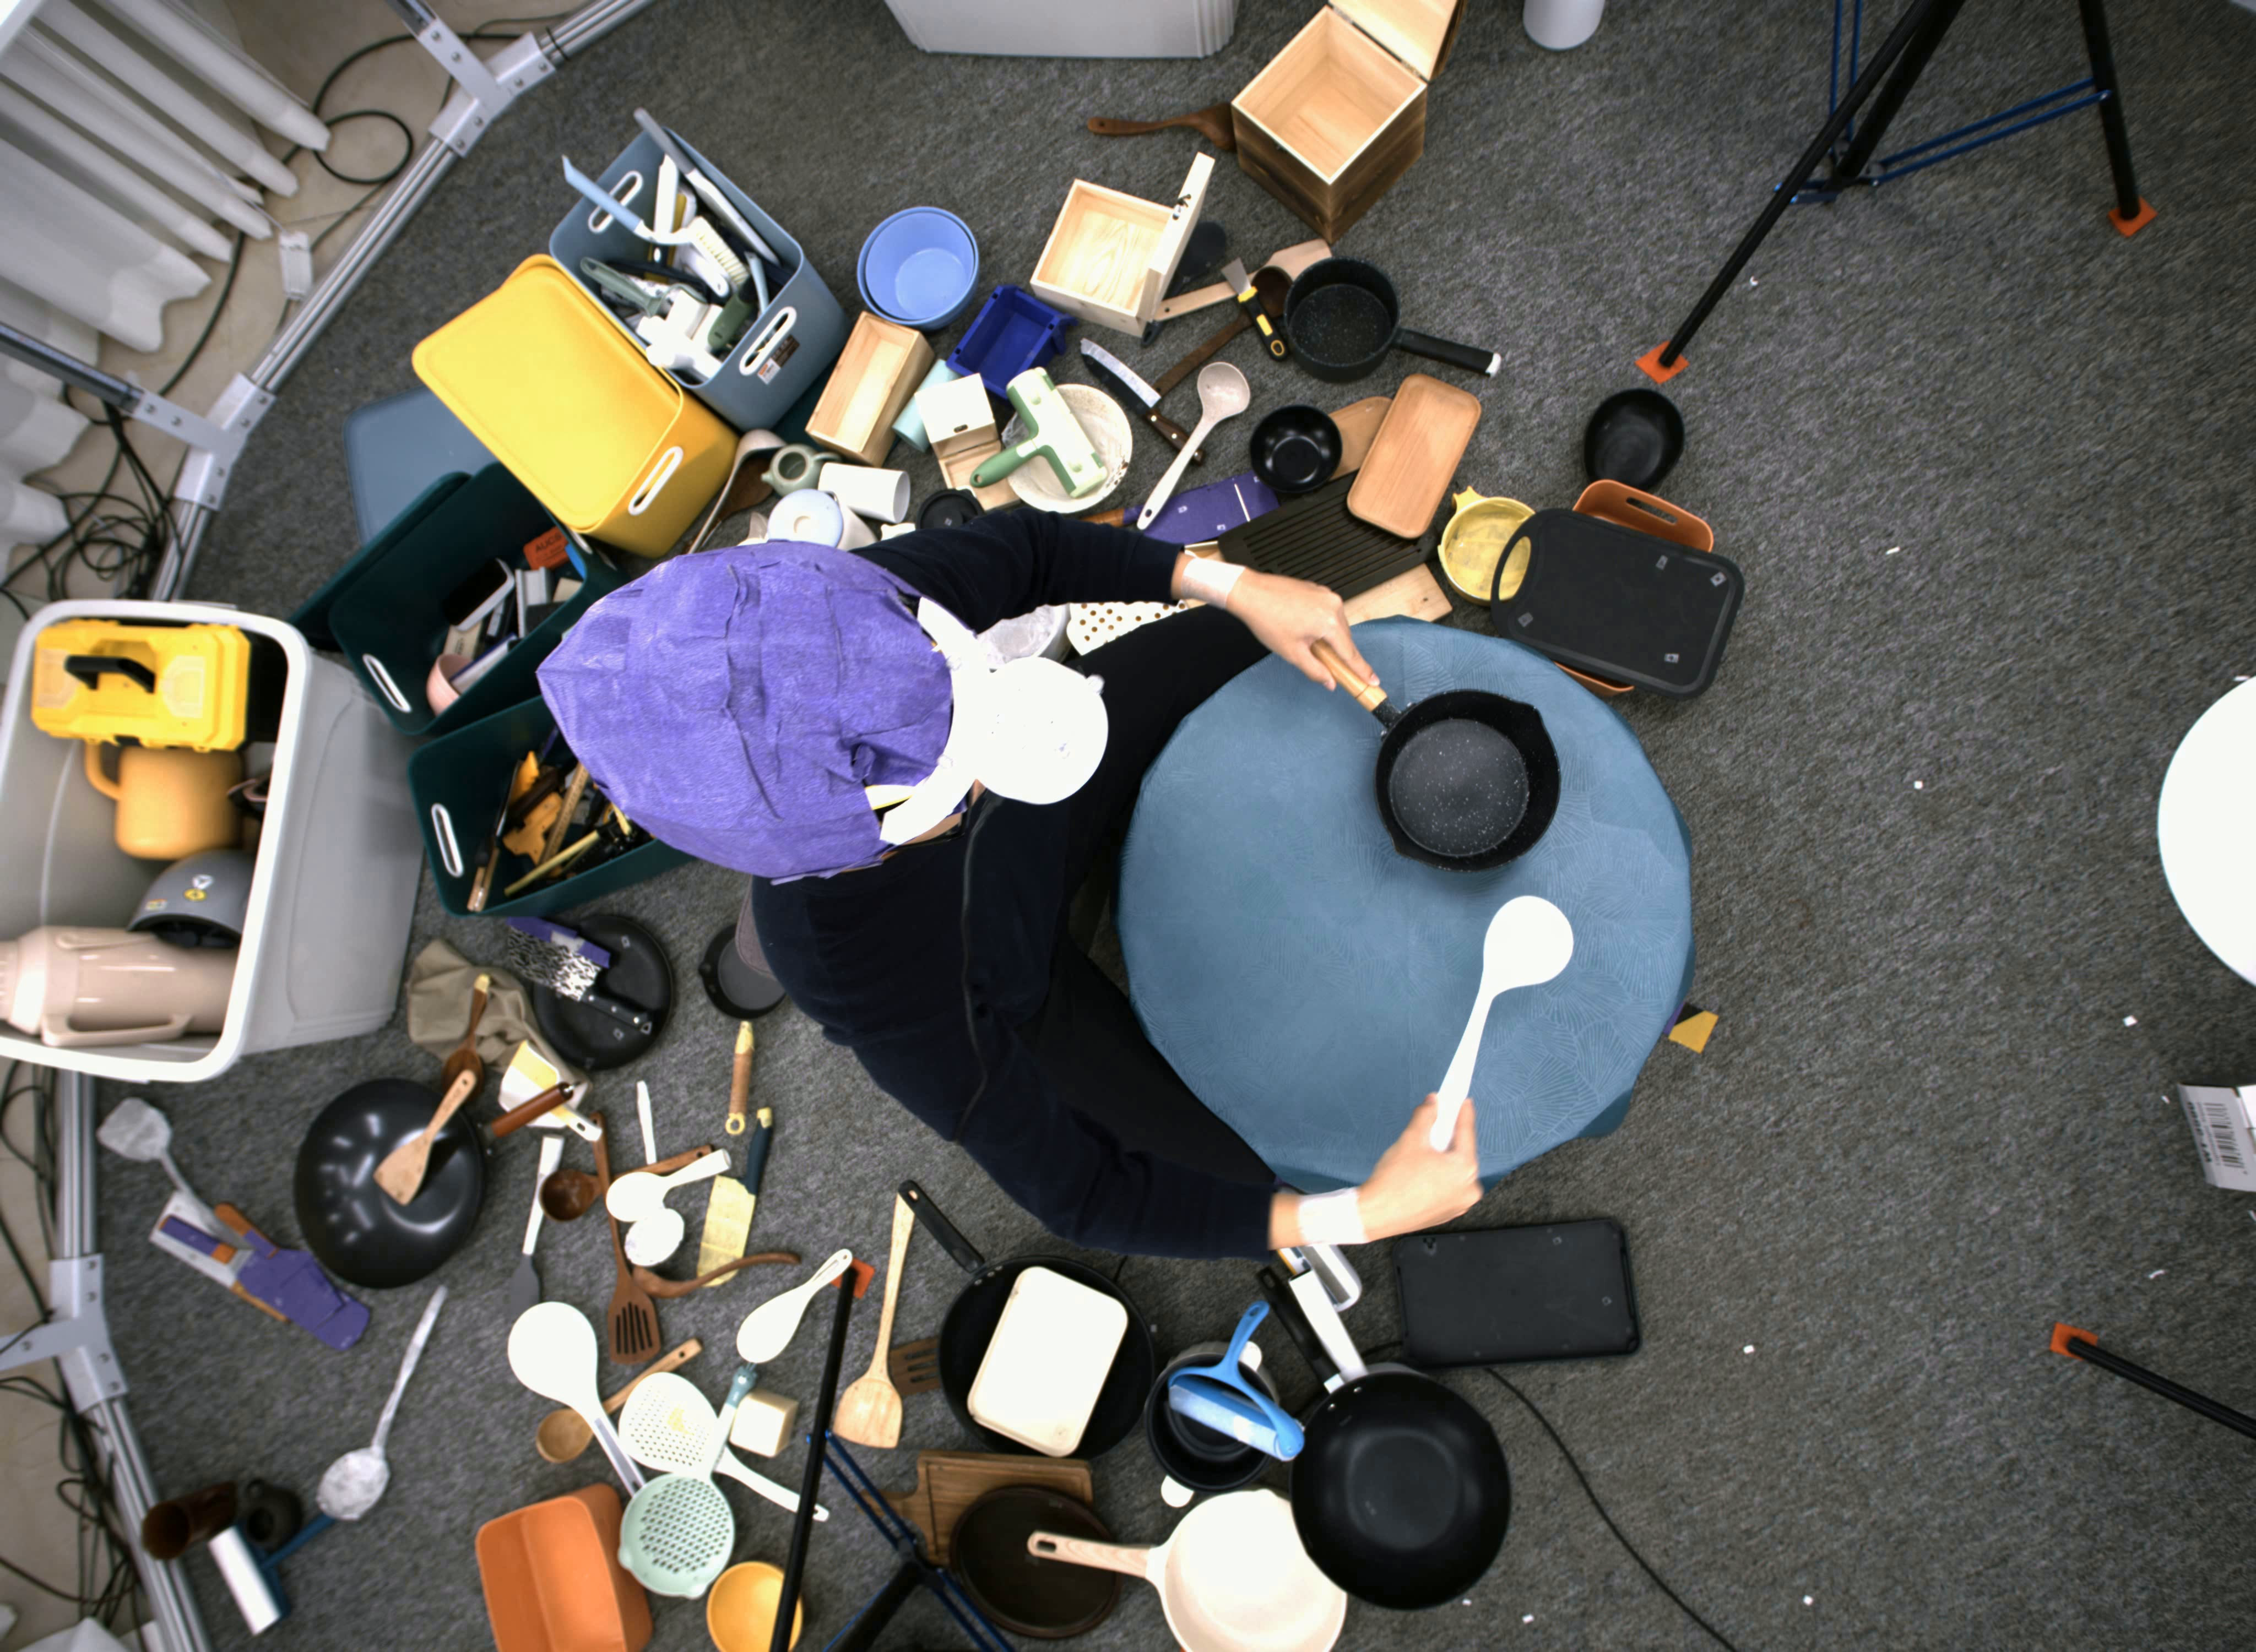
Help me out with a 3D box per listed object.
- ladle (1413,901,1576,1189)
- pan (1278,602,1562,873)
[{"bbox_3d":[0.335,0.195,1.259,0.091,0.071,0.286,44,58,-23],"label":"ladle"},{"bbox_3d":[0.283,-0.099,1.403,0.342,0.108,0.208,42,95,5],"label":"pan"}]
